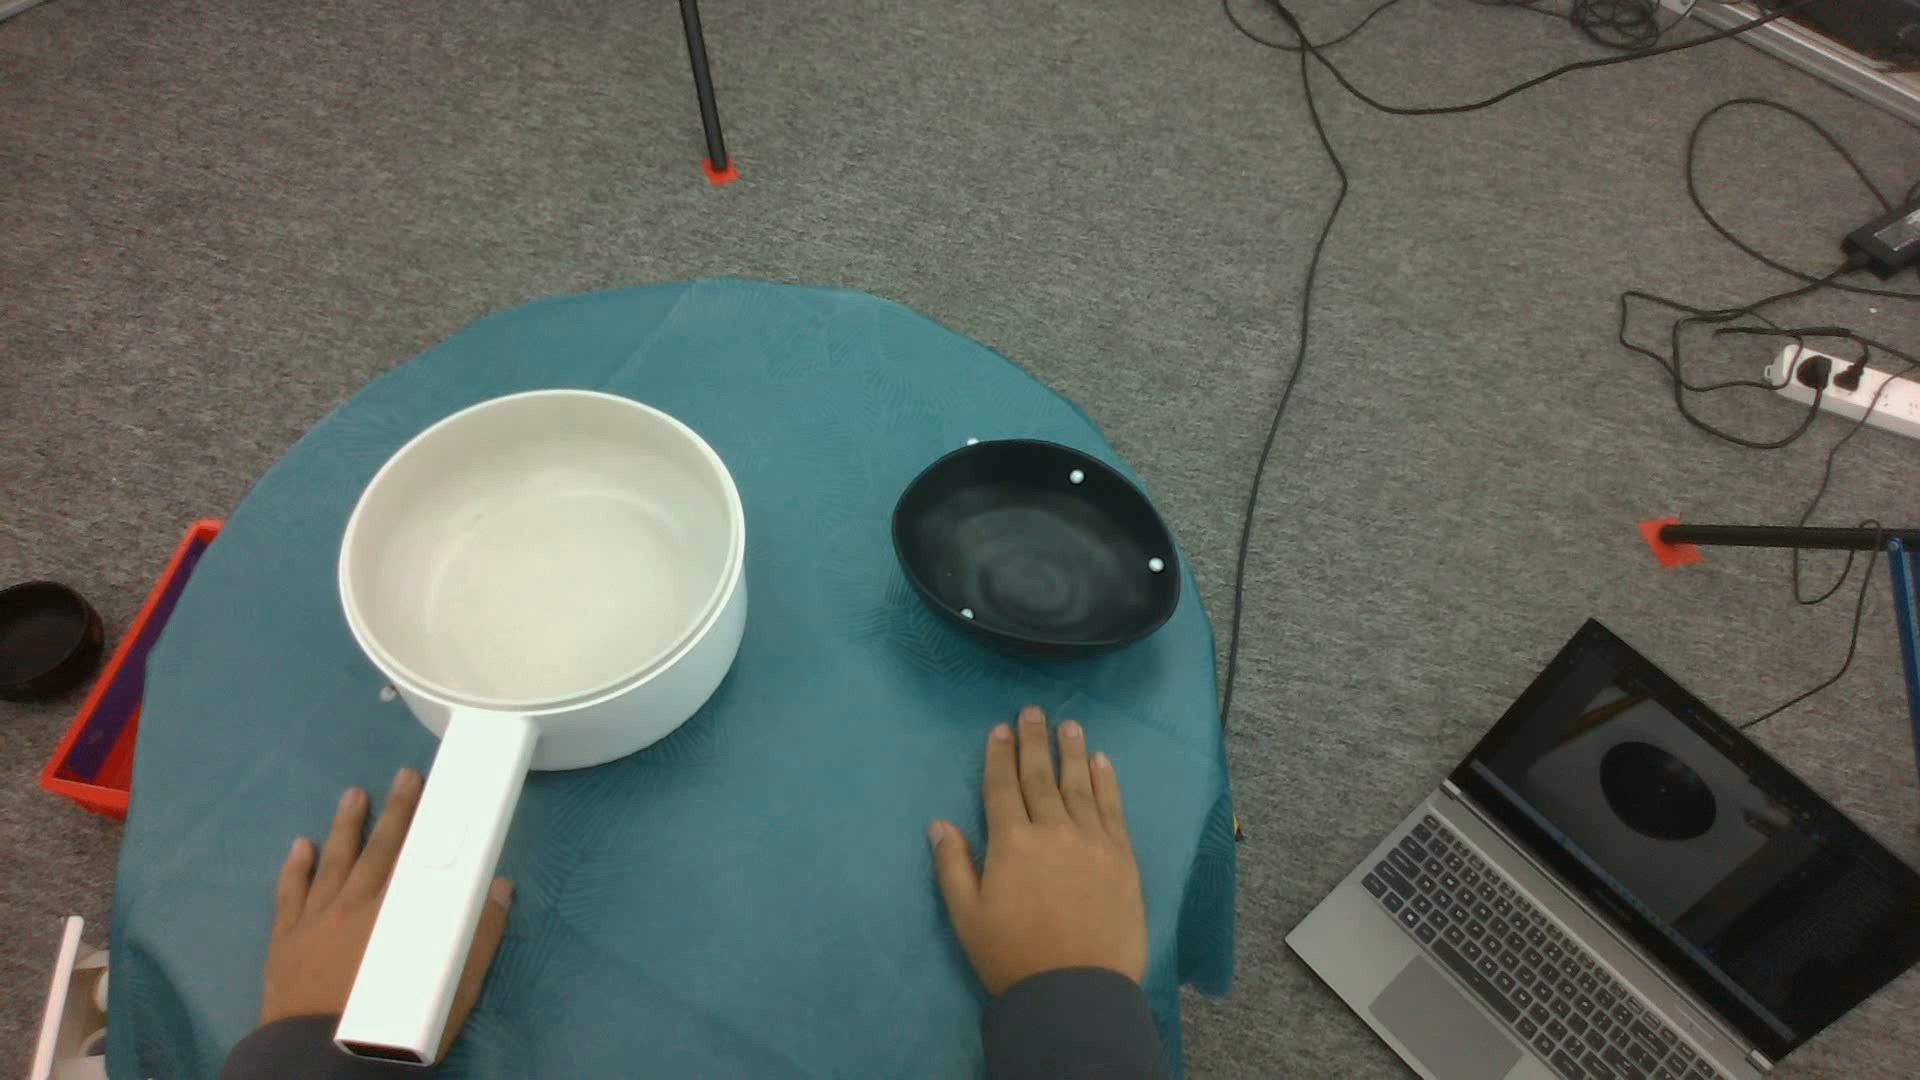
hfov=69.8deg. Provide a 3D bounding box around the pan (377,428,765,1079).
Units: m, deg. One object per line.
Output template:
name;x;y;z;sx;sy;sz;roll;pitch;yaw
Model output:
pan;-0.214;0.109;0.728;0.201;0.101;0.356;5;57;0

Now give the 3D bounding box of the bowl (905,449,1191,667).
bowl;0.051;0.020;0.811;0.170;0.066;0.138;15;56;7
